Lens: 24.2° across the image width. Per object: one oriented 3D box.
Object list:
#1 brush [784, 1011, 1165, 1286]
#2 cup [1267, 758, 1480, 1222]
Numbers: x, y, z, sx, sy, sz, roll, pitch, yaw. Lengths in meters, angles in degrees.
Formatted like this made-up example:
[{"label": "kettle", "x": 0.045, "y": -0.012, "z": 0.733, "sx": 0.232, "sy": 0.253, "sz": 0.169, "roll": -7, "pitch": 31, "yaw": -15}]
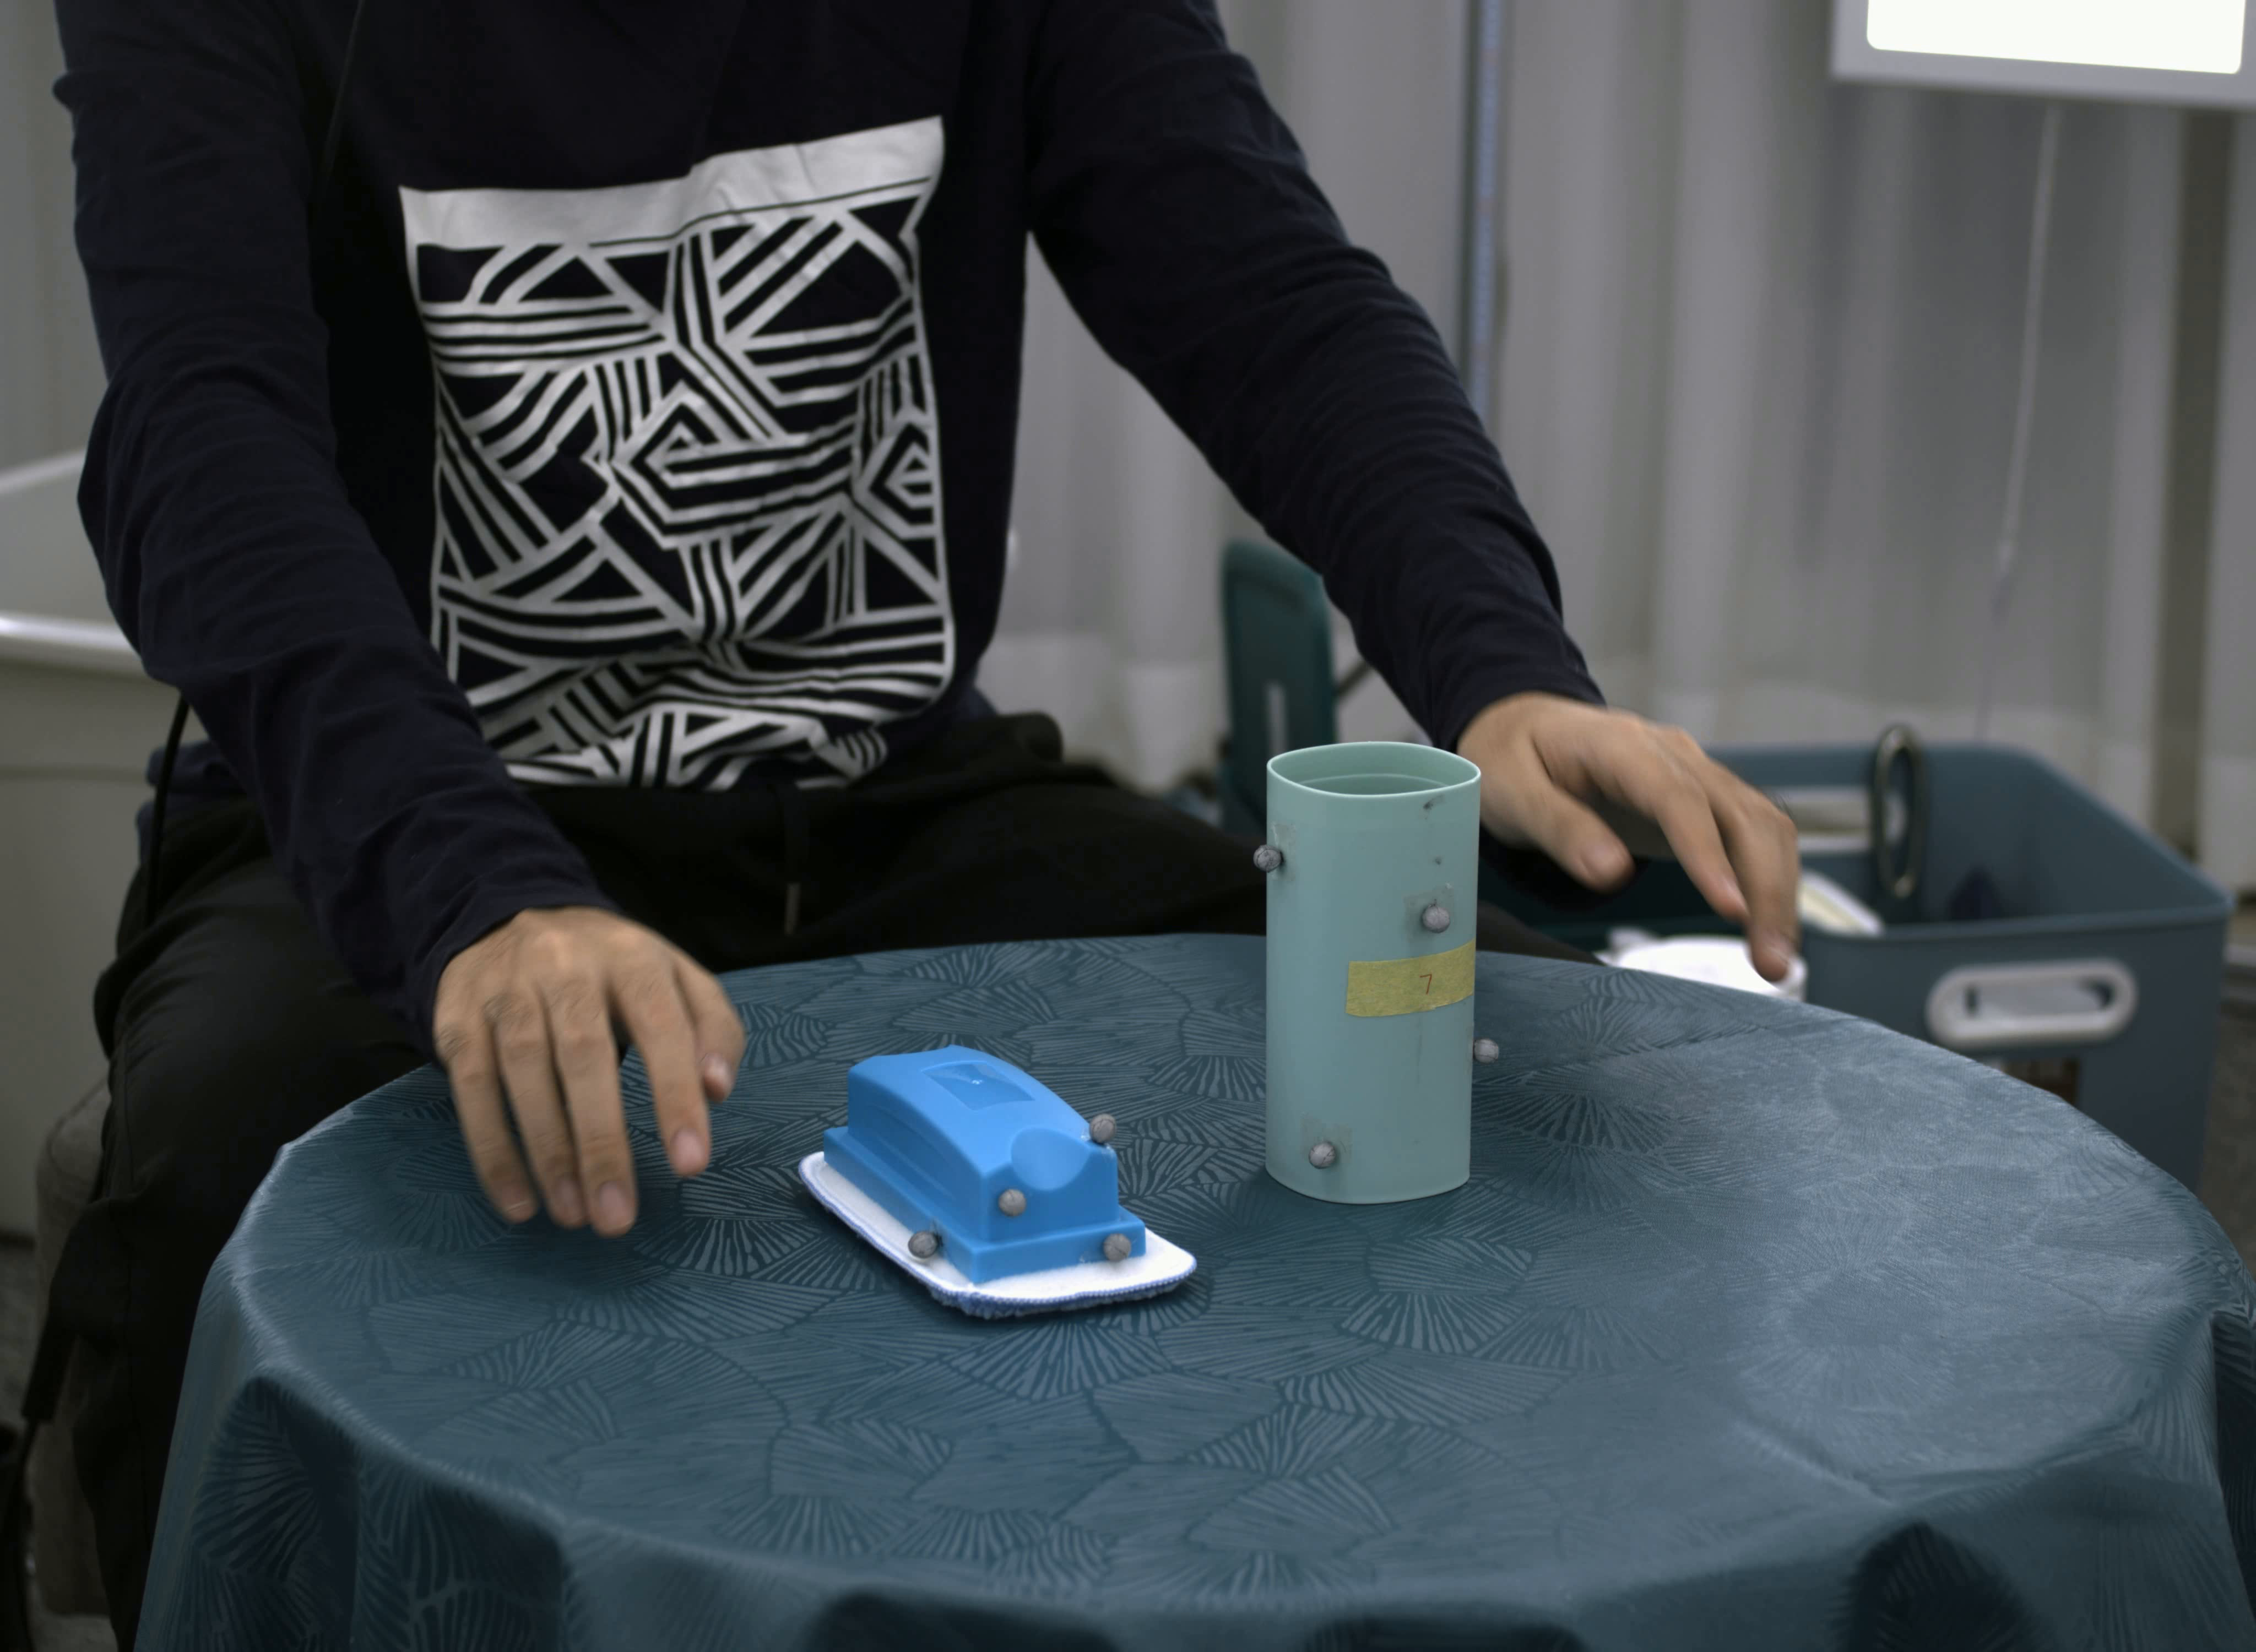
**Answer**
[{"label": "brush", "x": -0.045, "y": 0.094, "z": 1.577, "sx": 0.084, "sy": 0.056, "sz": 0.142, "roll": -3, "pitch": 18, "yaw": -23}, {"label": "cup", "x": 0.075, "y": 0.049, "z": 1.629, "sx": 0.066, "sy": 0.133, "sz": 0.066, "roll": 0, "pitch": 16, "yaw": 1}]
